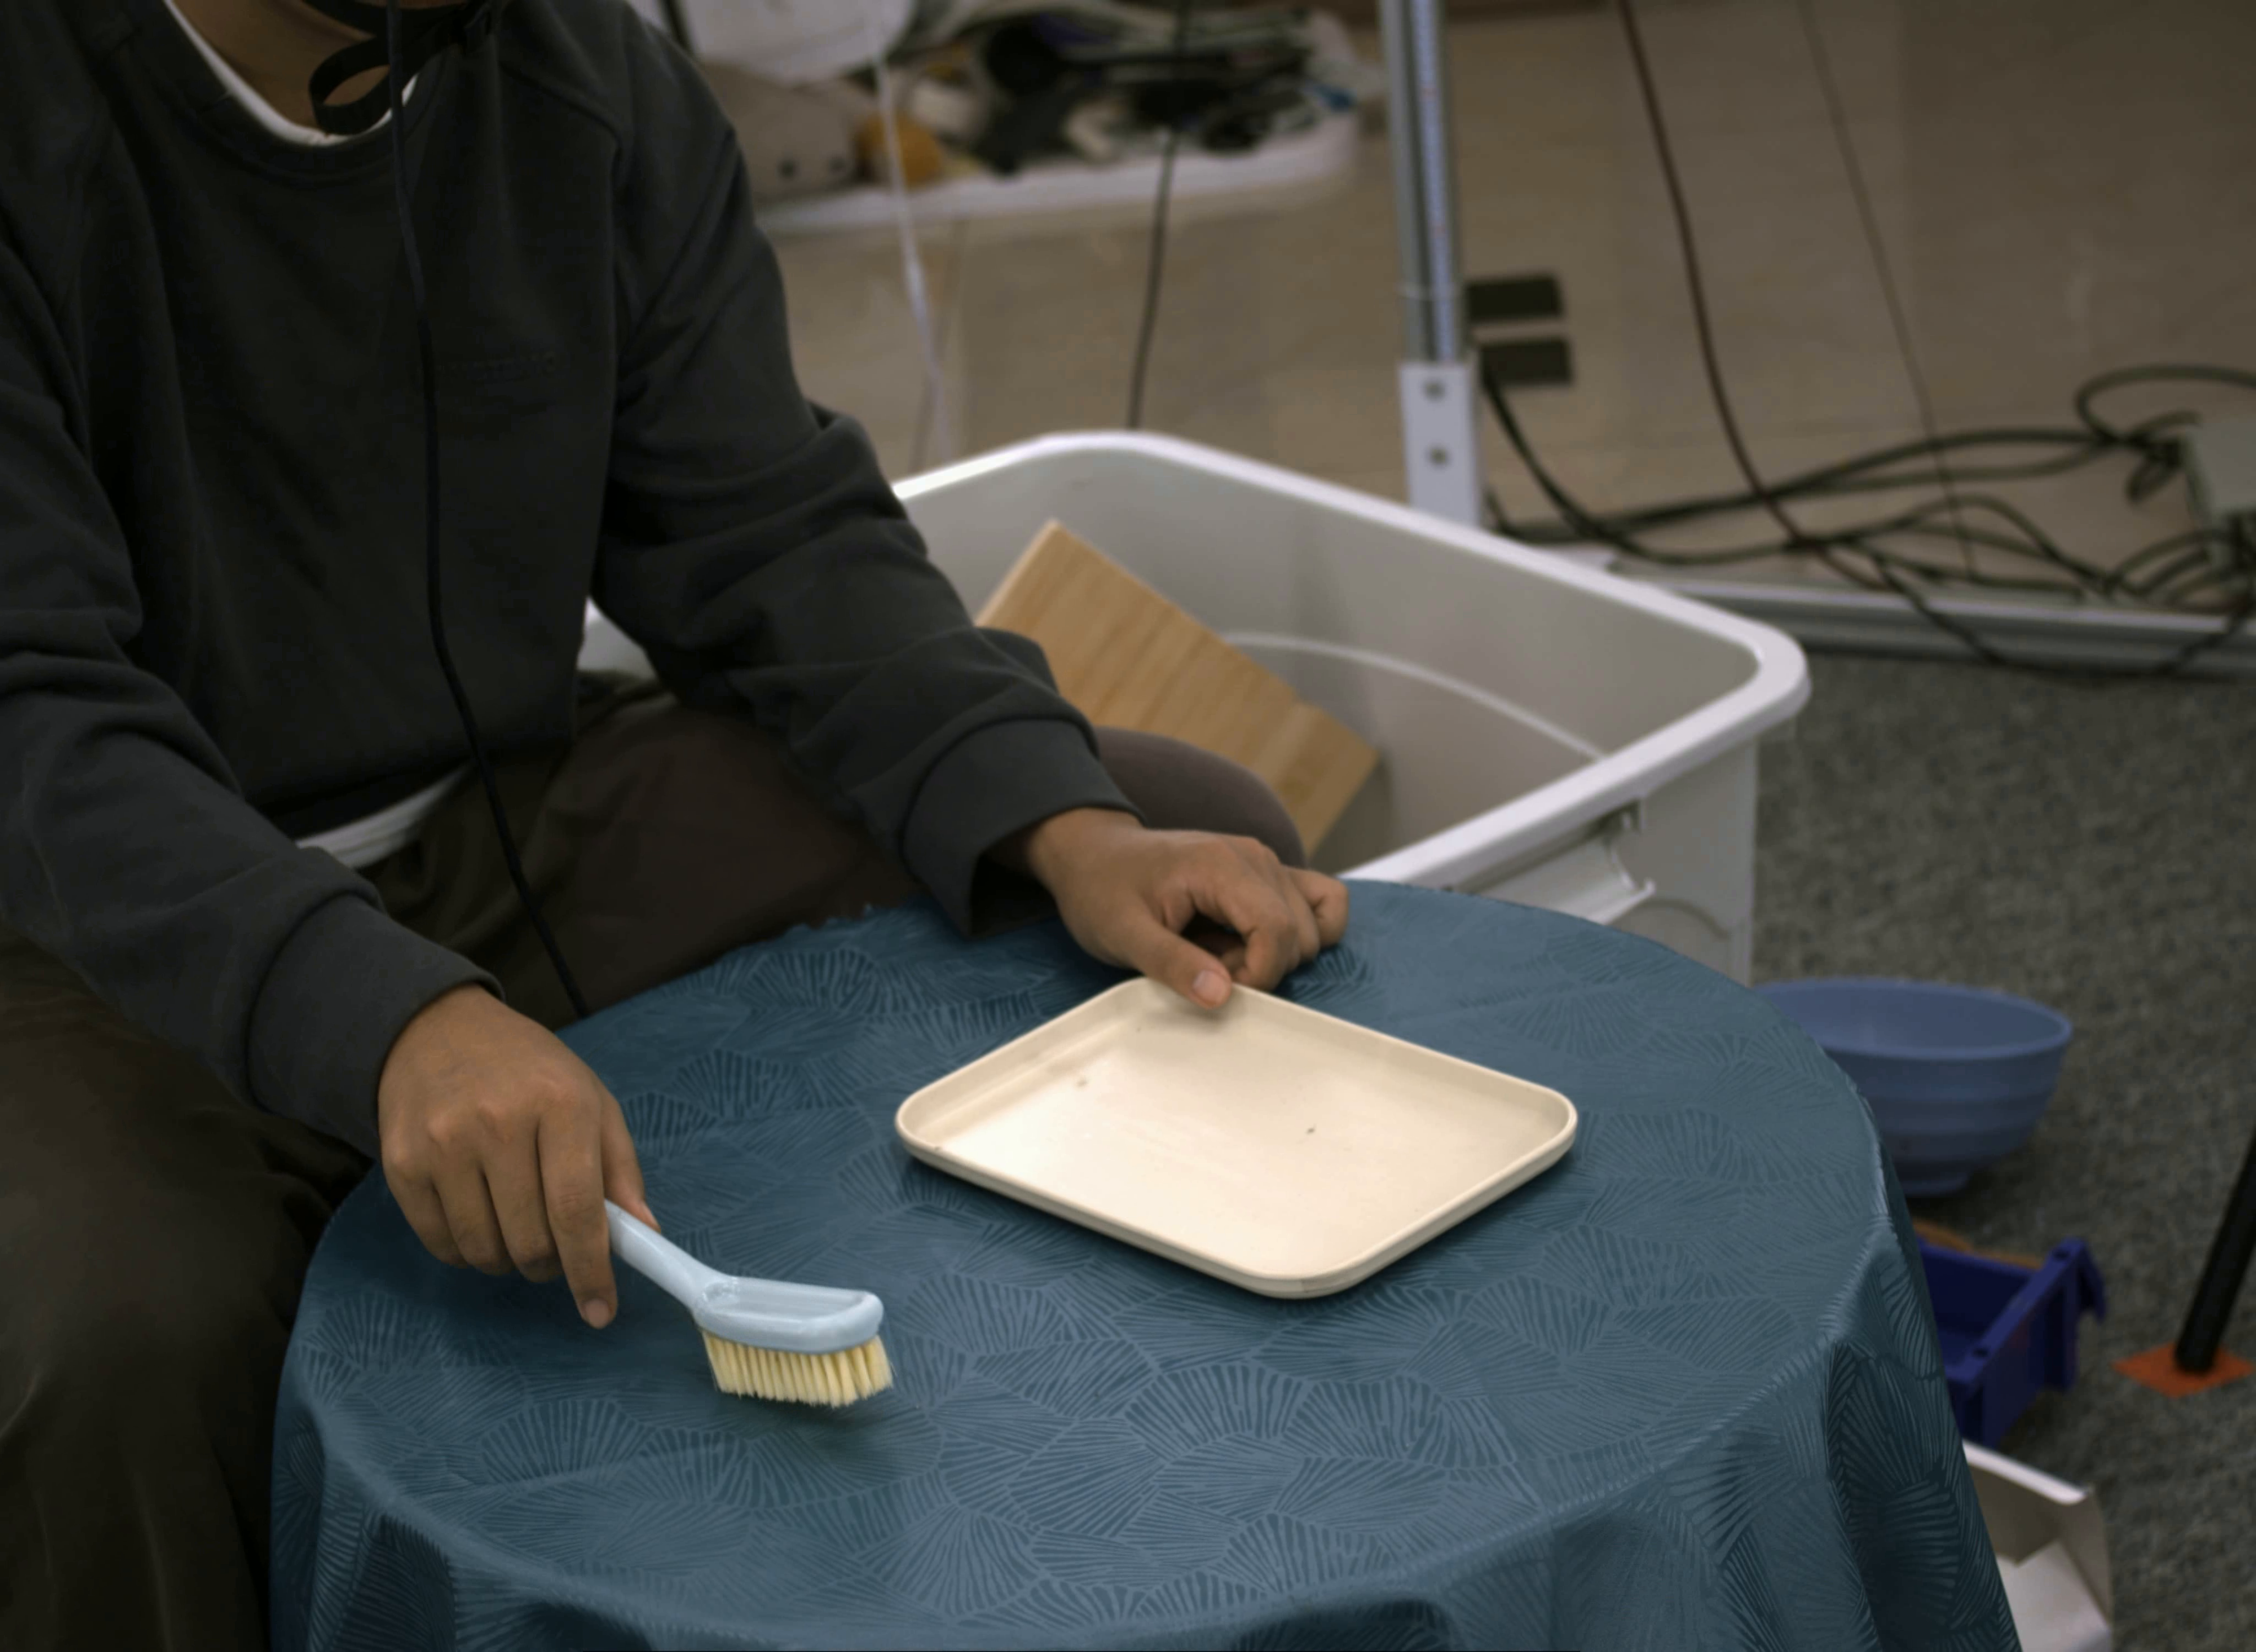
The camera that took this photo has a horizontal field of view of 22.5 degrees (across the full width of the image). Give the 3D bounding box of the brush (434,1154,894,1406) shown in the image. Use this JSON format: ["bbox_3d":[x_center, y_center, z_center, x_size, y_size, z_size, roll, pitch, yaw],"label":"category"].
[{"bbox_3d":[-0.172,0.165,2.066,0.227,0.050,0.037,18,31,38],"label":"brush"}]

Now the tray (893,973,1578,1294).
[{"bbox_3d":[0.040,0.117,2.165,0.170,0.018,0.238,-26,31,-38],"label":"tray"}]
